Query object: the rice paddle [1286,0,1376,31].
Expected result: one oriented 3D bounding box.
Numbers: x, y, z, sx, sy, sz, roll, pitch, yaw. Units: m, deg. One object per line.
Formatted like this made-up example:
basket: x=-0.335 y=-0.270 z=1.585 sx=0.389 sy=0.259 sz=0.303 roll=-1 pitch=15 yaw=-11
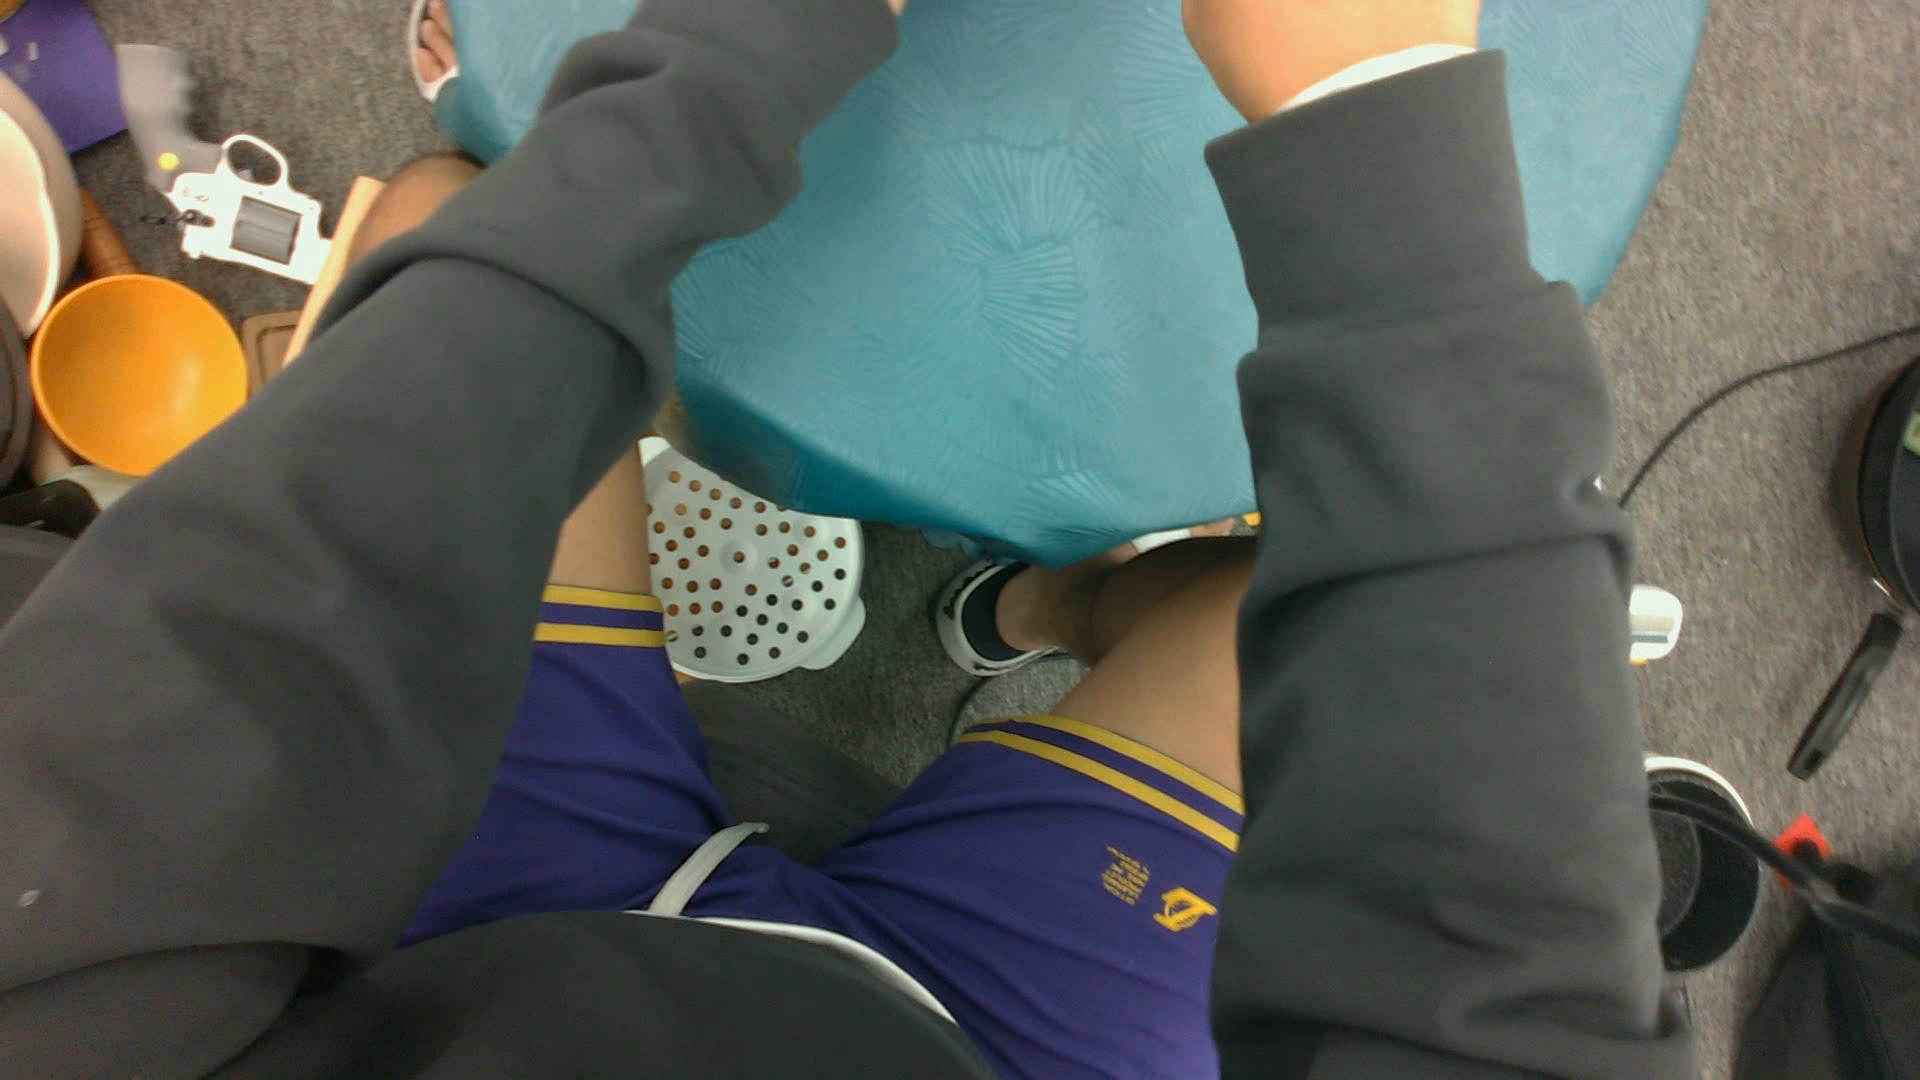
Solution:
rice paddle: x=0.065 y=-0.236 z=0.473 sx=0.029 sy=0.205 sz=0.068 roll=-2 pitch=132 yaw=-46
